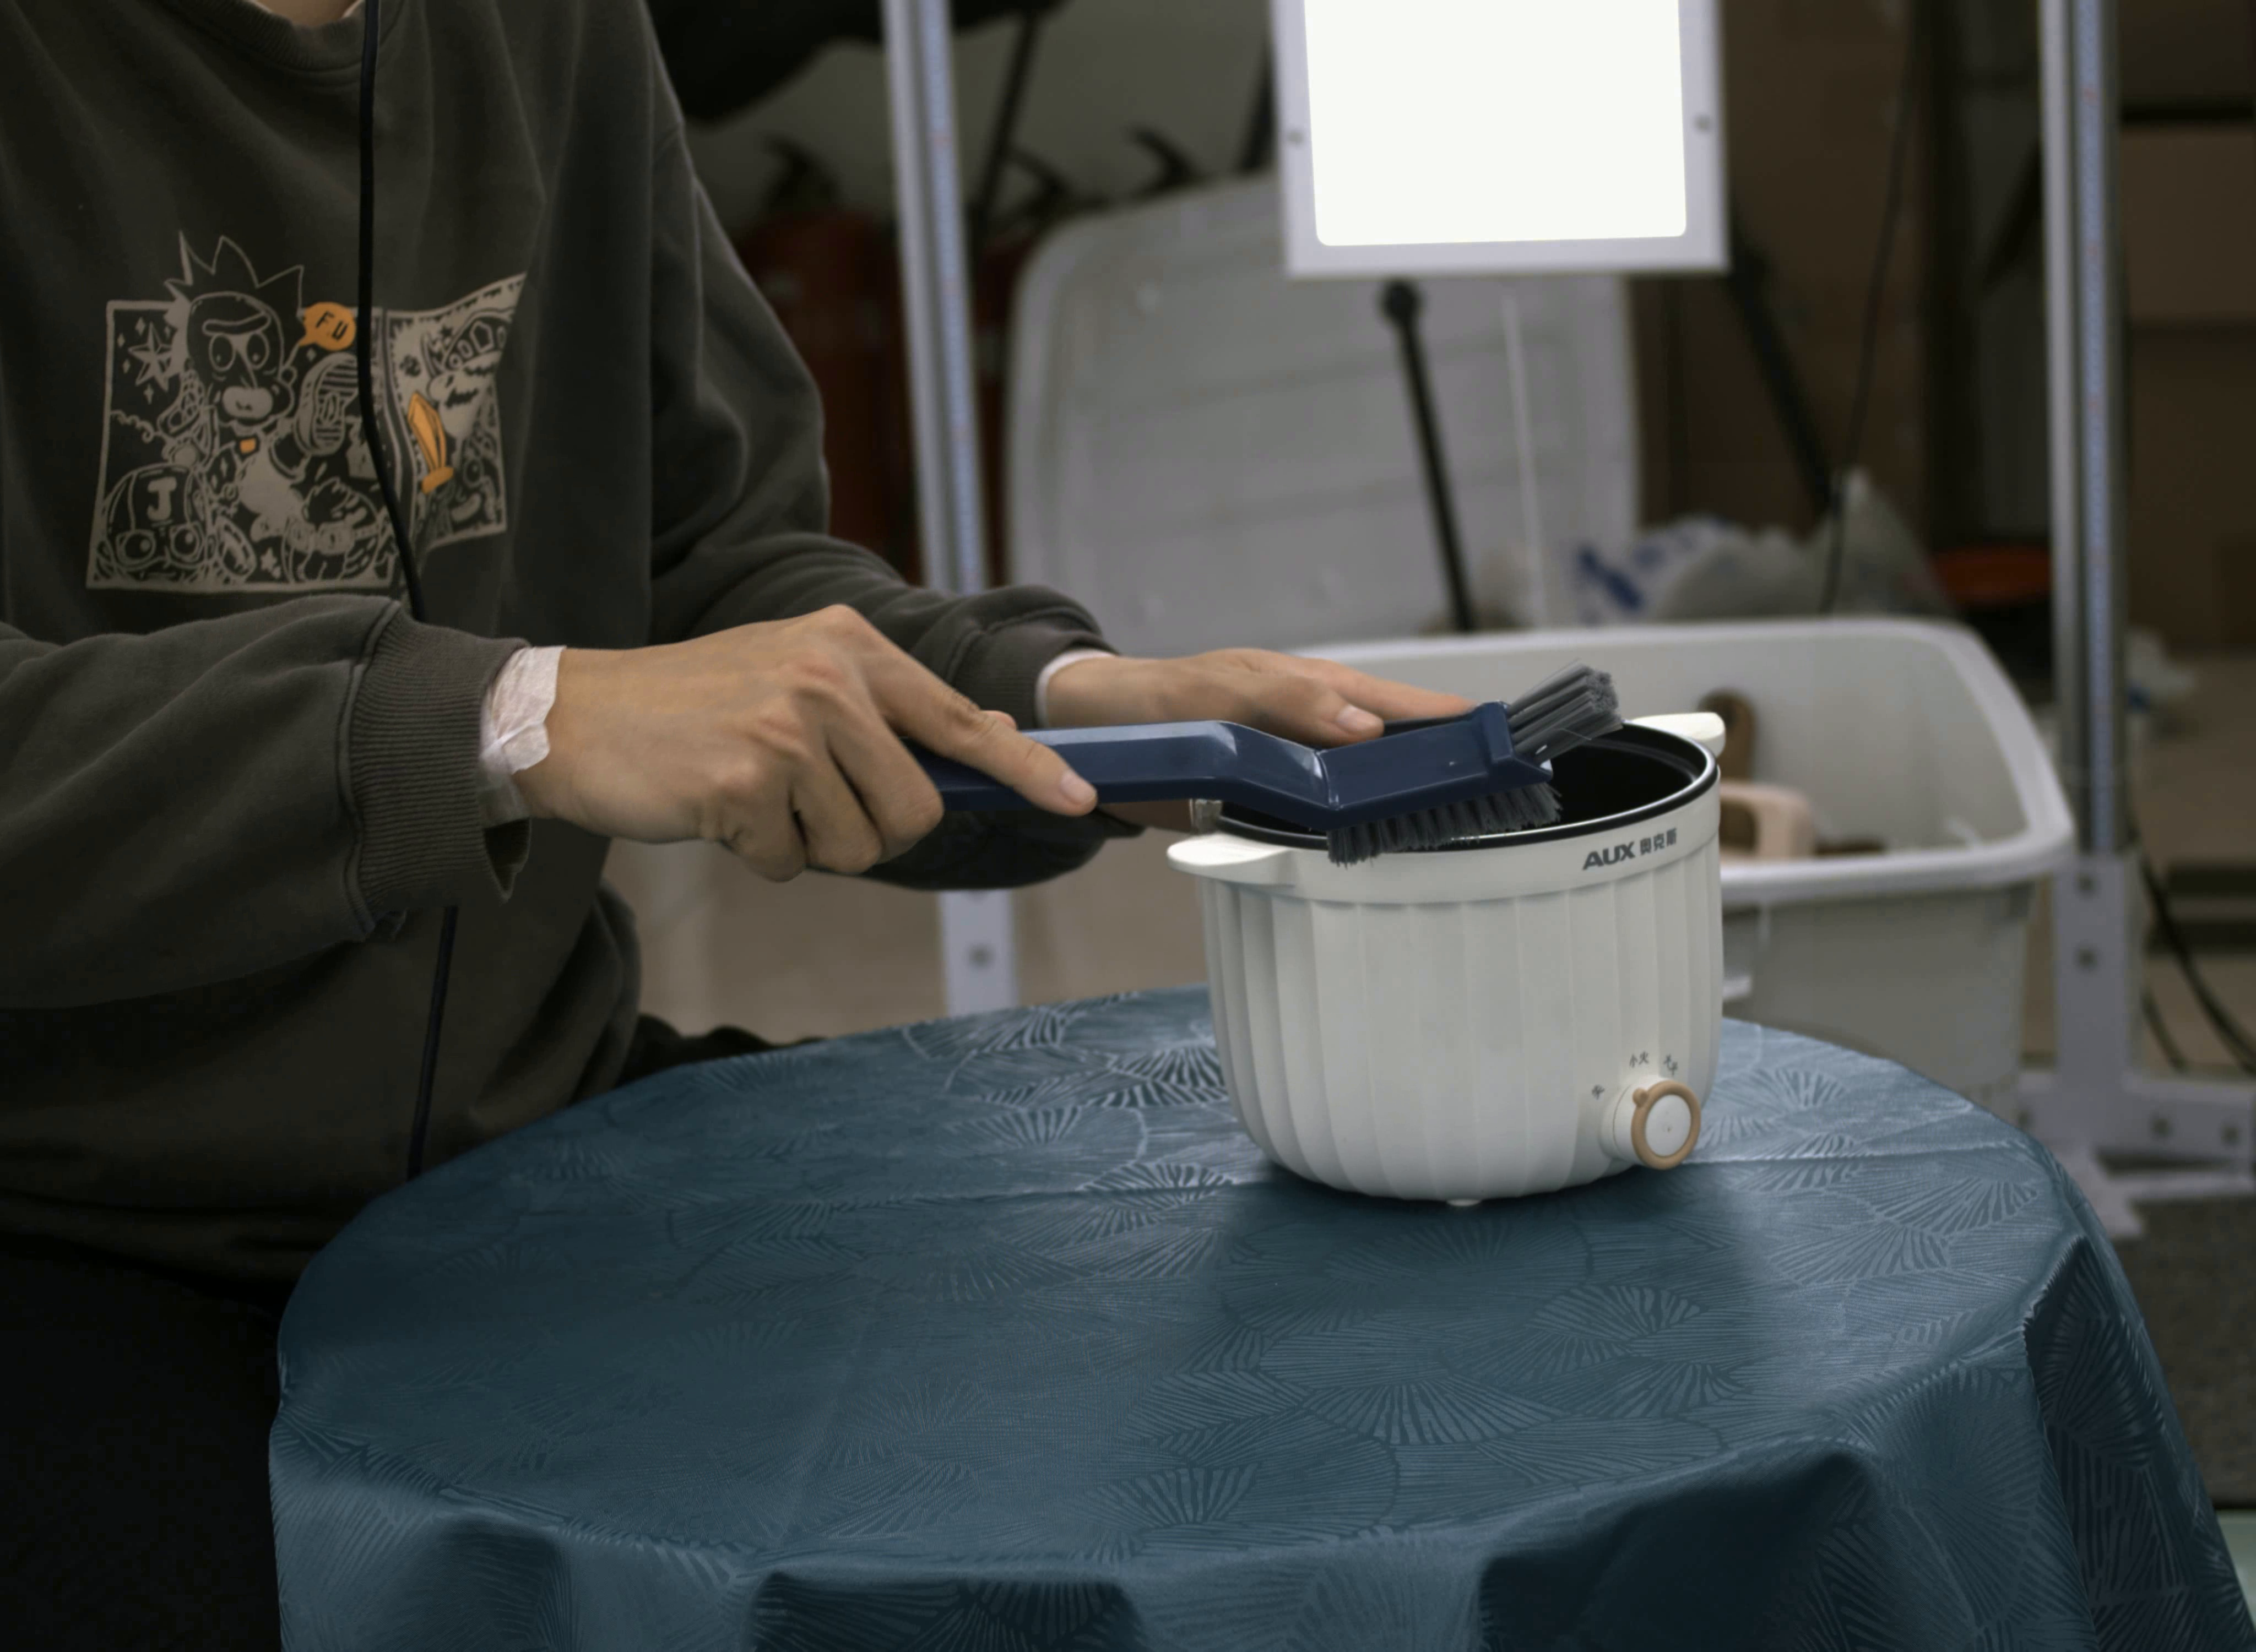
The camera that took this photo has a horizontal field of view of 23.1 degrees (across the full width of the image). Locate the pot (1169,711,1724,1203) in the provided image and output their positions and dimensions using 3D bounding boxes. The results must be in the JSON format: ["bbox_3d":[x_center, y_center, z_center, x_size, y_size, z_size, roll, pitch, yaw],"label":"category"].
[{"bbox_3d":[0.121,0.046,1.887,0.234,0.143,0.194,-16,15,-34],"label":"pot"}]

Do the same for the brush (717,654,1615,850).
[{"bbox_3d":[0.011,-0.027,1.722,0.269,0.097,0.033,2,54,-14],"label":"brush"}]
